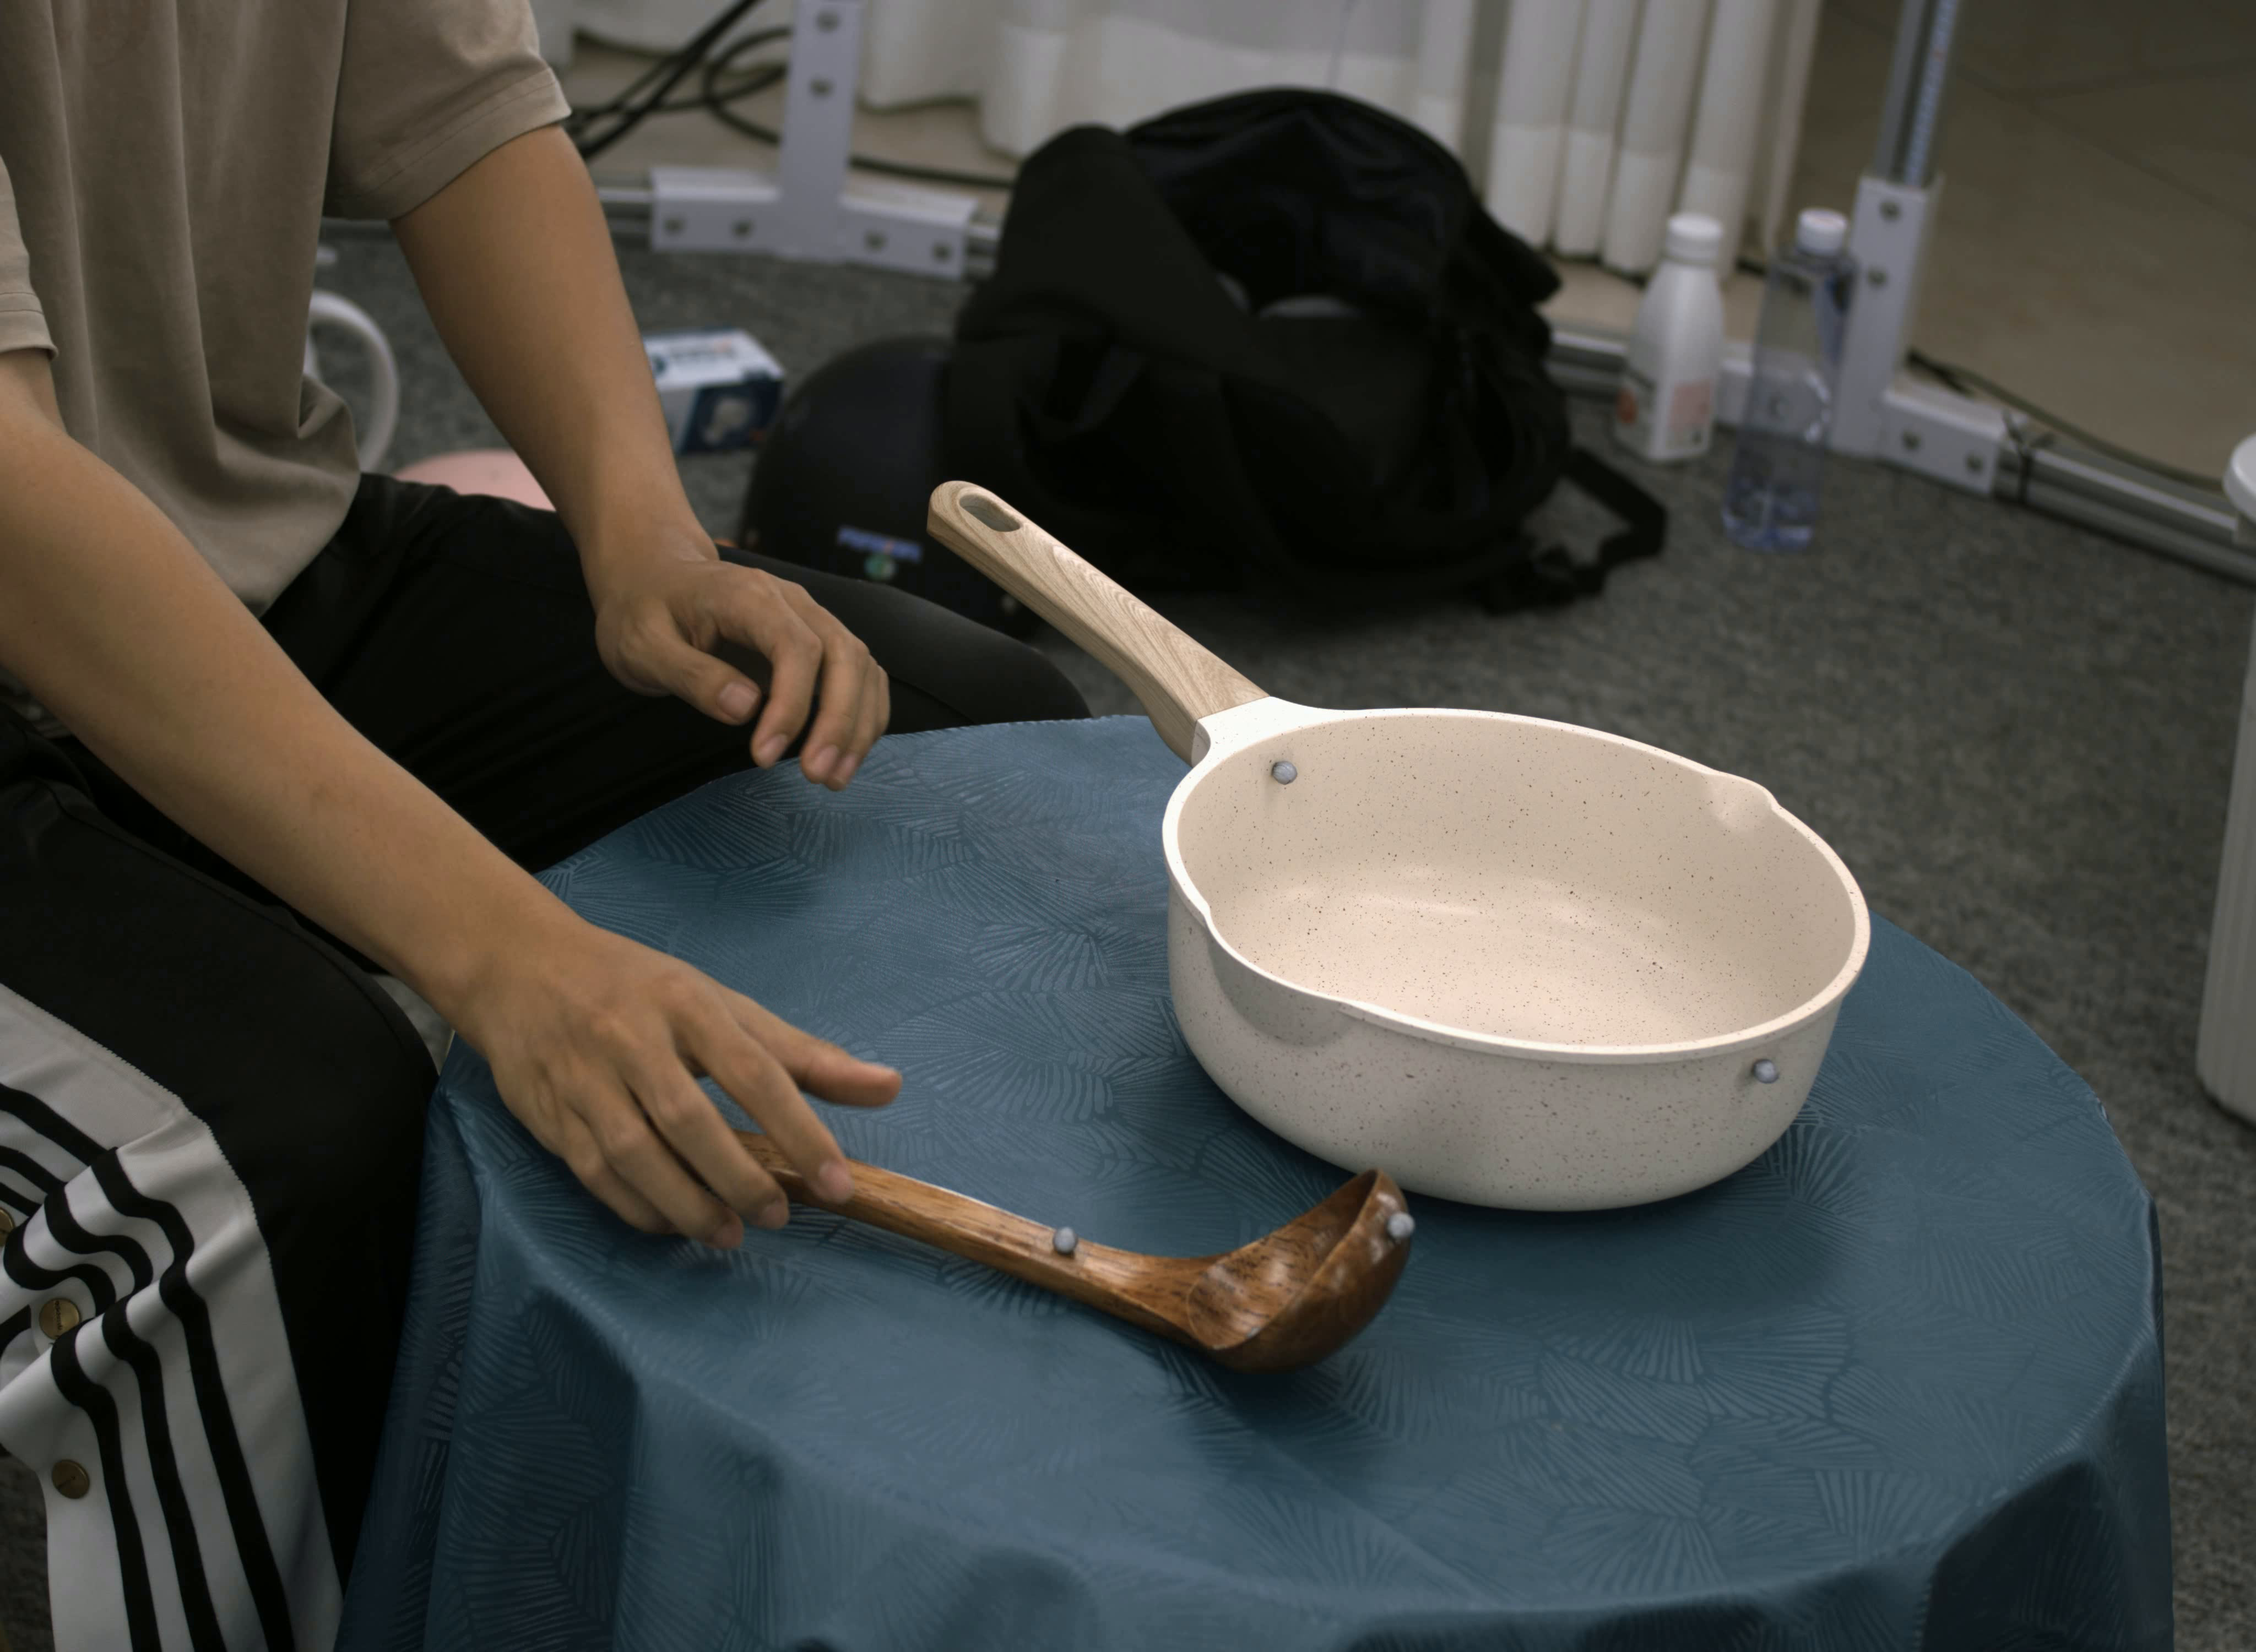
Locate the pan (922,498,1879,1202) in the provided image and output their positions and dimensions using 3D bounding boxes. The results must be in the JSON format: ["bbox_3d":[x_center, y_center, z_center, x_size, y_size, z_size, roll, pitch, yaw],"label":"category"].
[{"bbox_3d":[0.073,0.005,1.945,0.262,0.101,0.438,-20,37,-39],"label":"pan"}]

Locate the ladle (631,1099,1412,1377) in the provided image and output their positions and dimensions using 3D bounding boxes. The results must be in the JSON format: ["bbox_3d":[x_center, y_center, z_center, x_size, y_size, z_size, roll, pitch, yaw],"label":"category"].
[{"bbox_3d":[-0.039,0.114,1.728,0.275,0.076,0.082,18,33,18],"label":"ladle"}]
